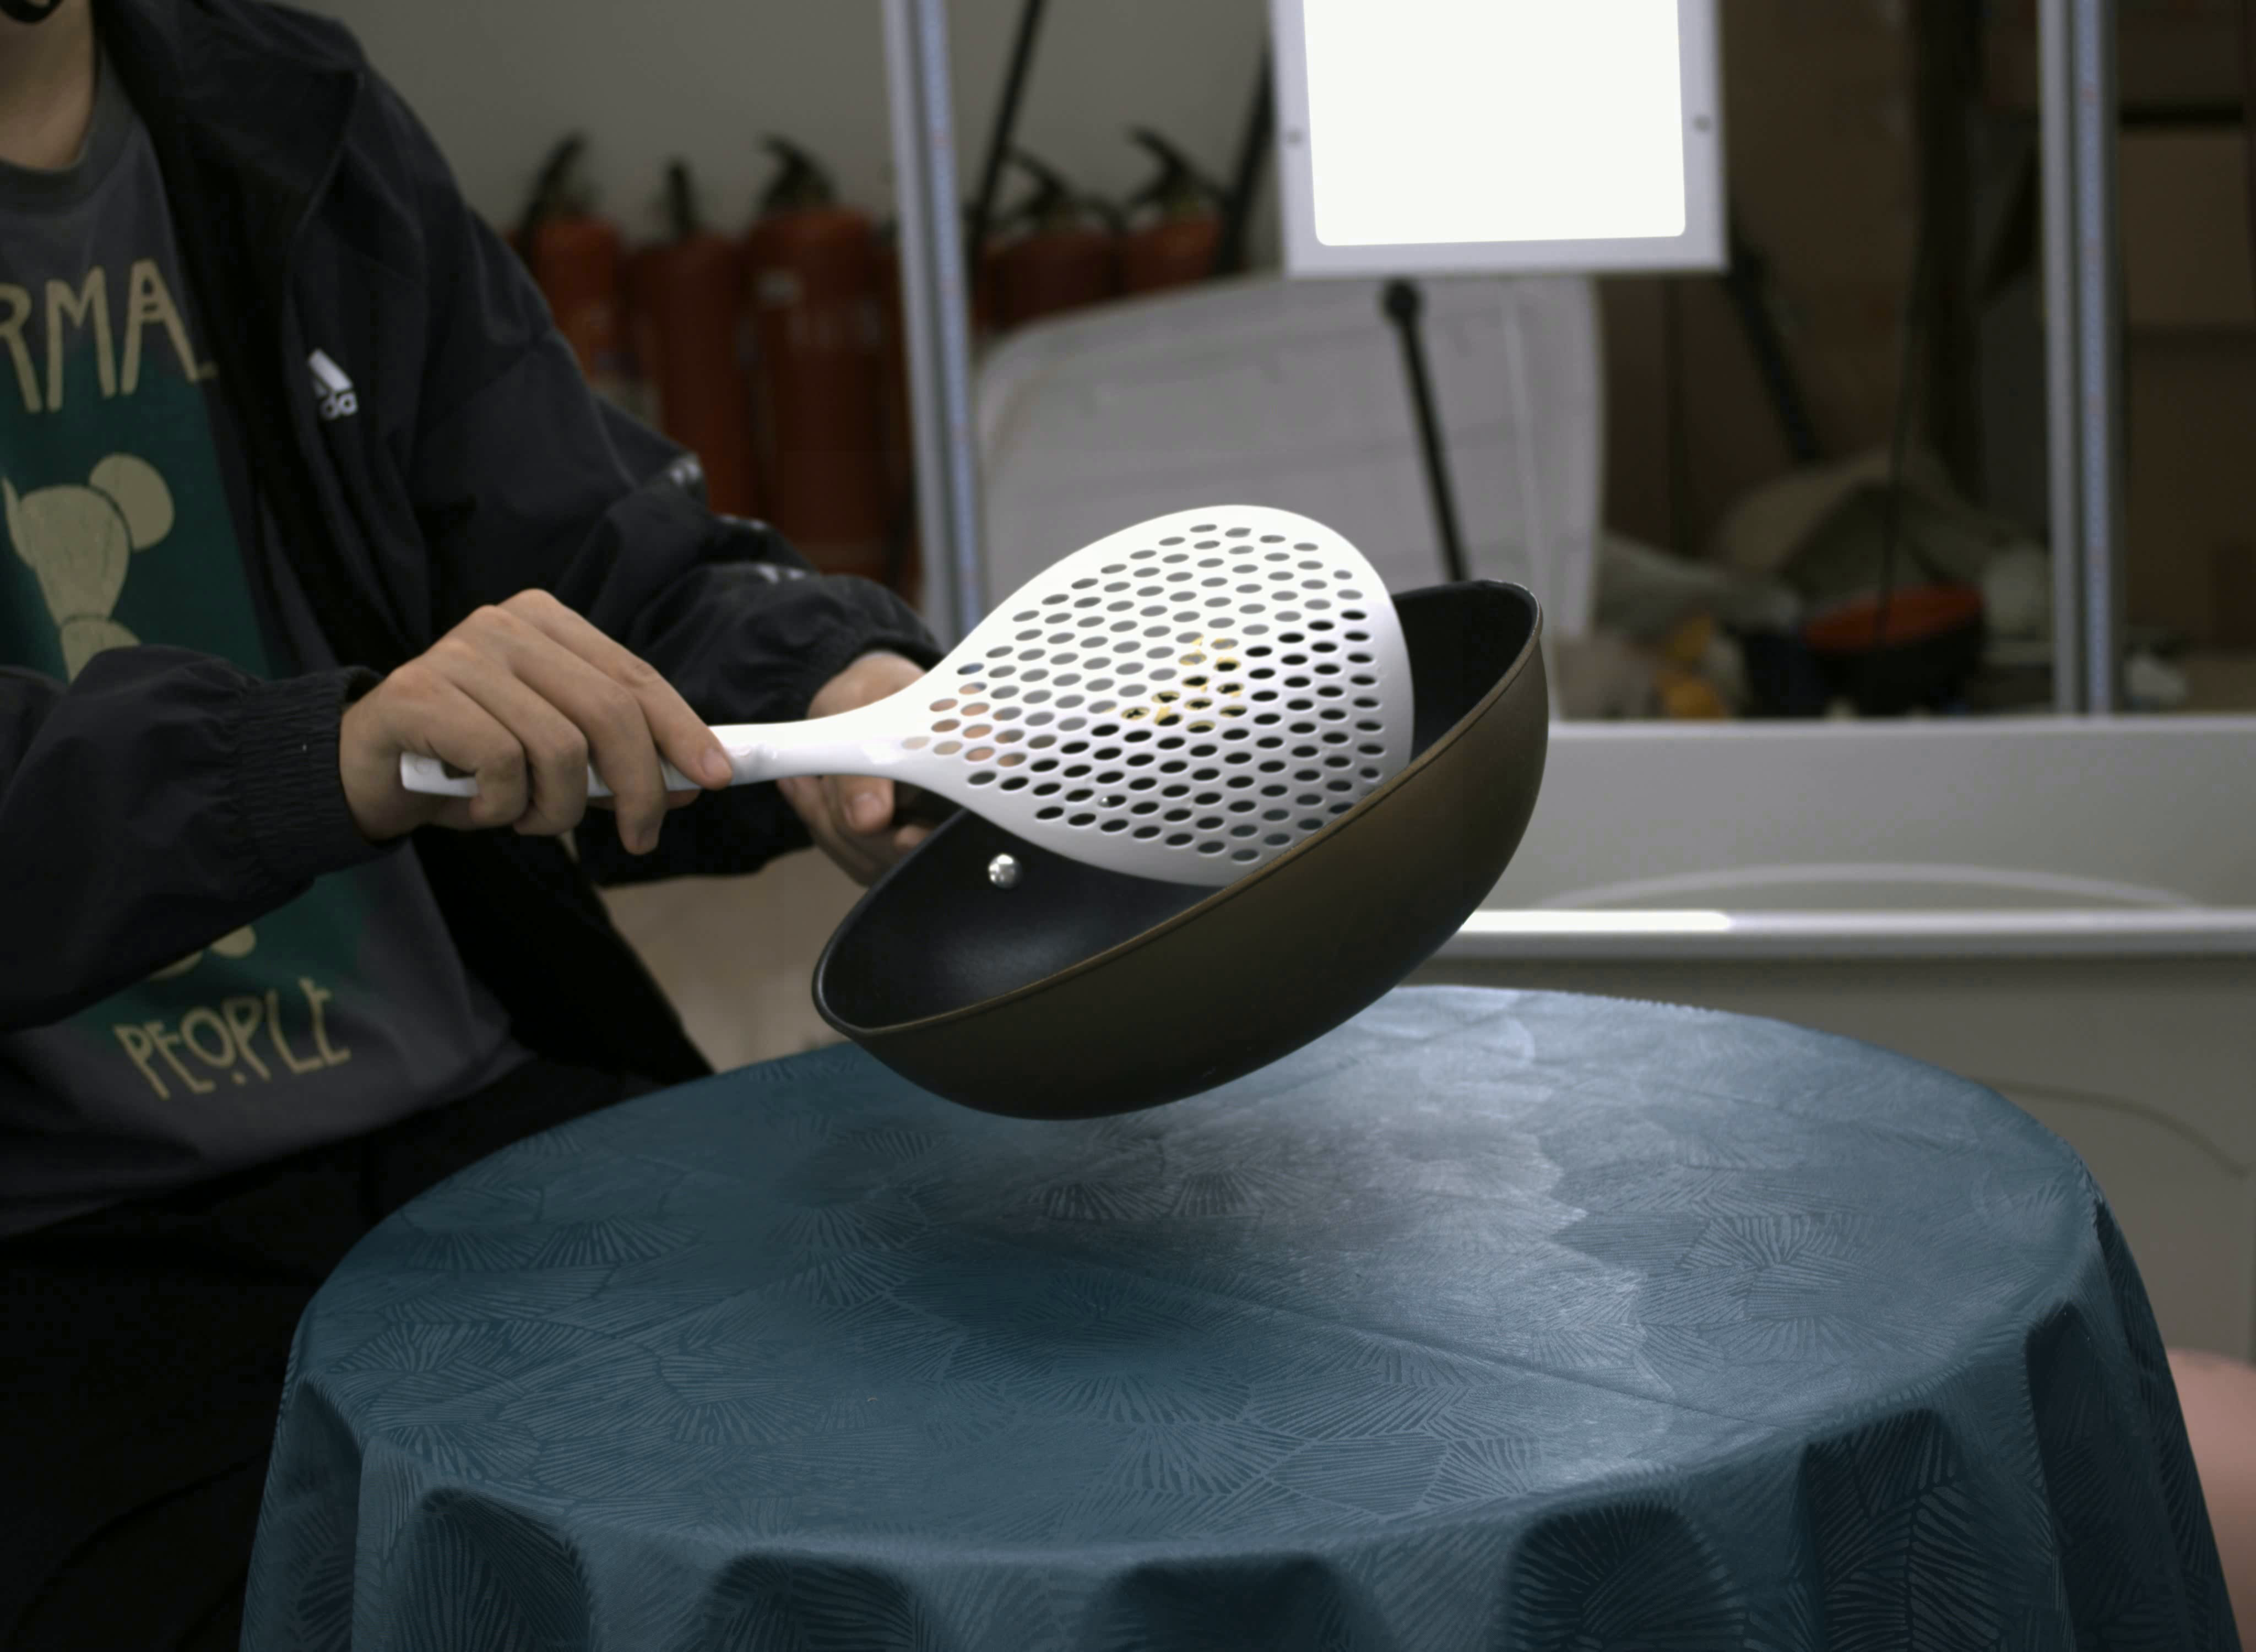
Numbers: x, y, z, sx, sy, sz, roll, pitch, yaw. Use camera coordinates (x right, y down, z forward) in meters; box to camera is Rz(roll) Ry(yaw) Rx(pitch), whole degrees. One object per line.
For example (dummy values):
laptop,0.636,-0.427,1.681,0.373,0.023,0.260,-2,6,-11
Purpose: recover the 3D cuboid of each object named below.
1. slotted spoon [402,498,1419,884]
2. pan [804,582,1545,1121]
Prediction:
slotted spoon,-0.073,-0.035,1.885,0.348,0.137,0.050,-7,-8,4
pan,-0.008,0.019,1.957,0.284,0.086,0.471,-35,15,-20
